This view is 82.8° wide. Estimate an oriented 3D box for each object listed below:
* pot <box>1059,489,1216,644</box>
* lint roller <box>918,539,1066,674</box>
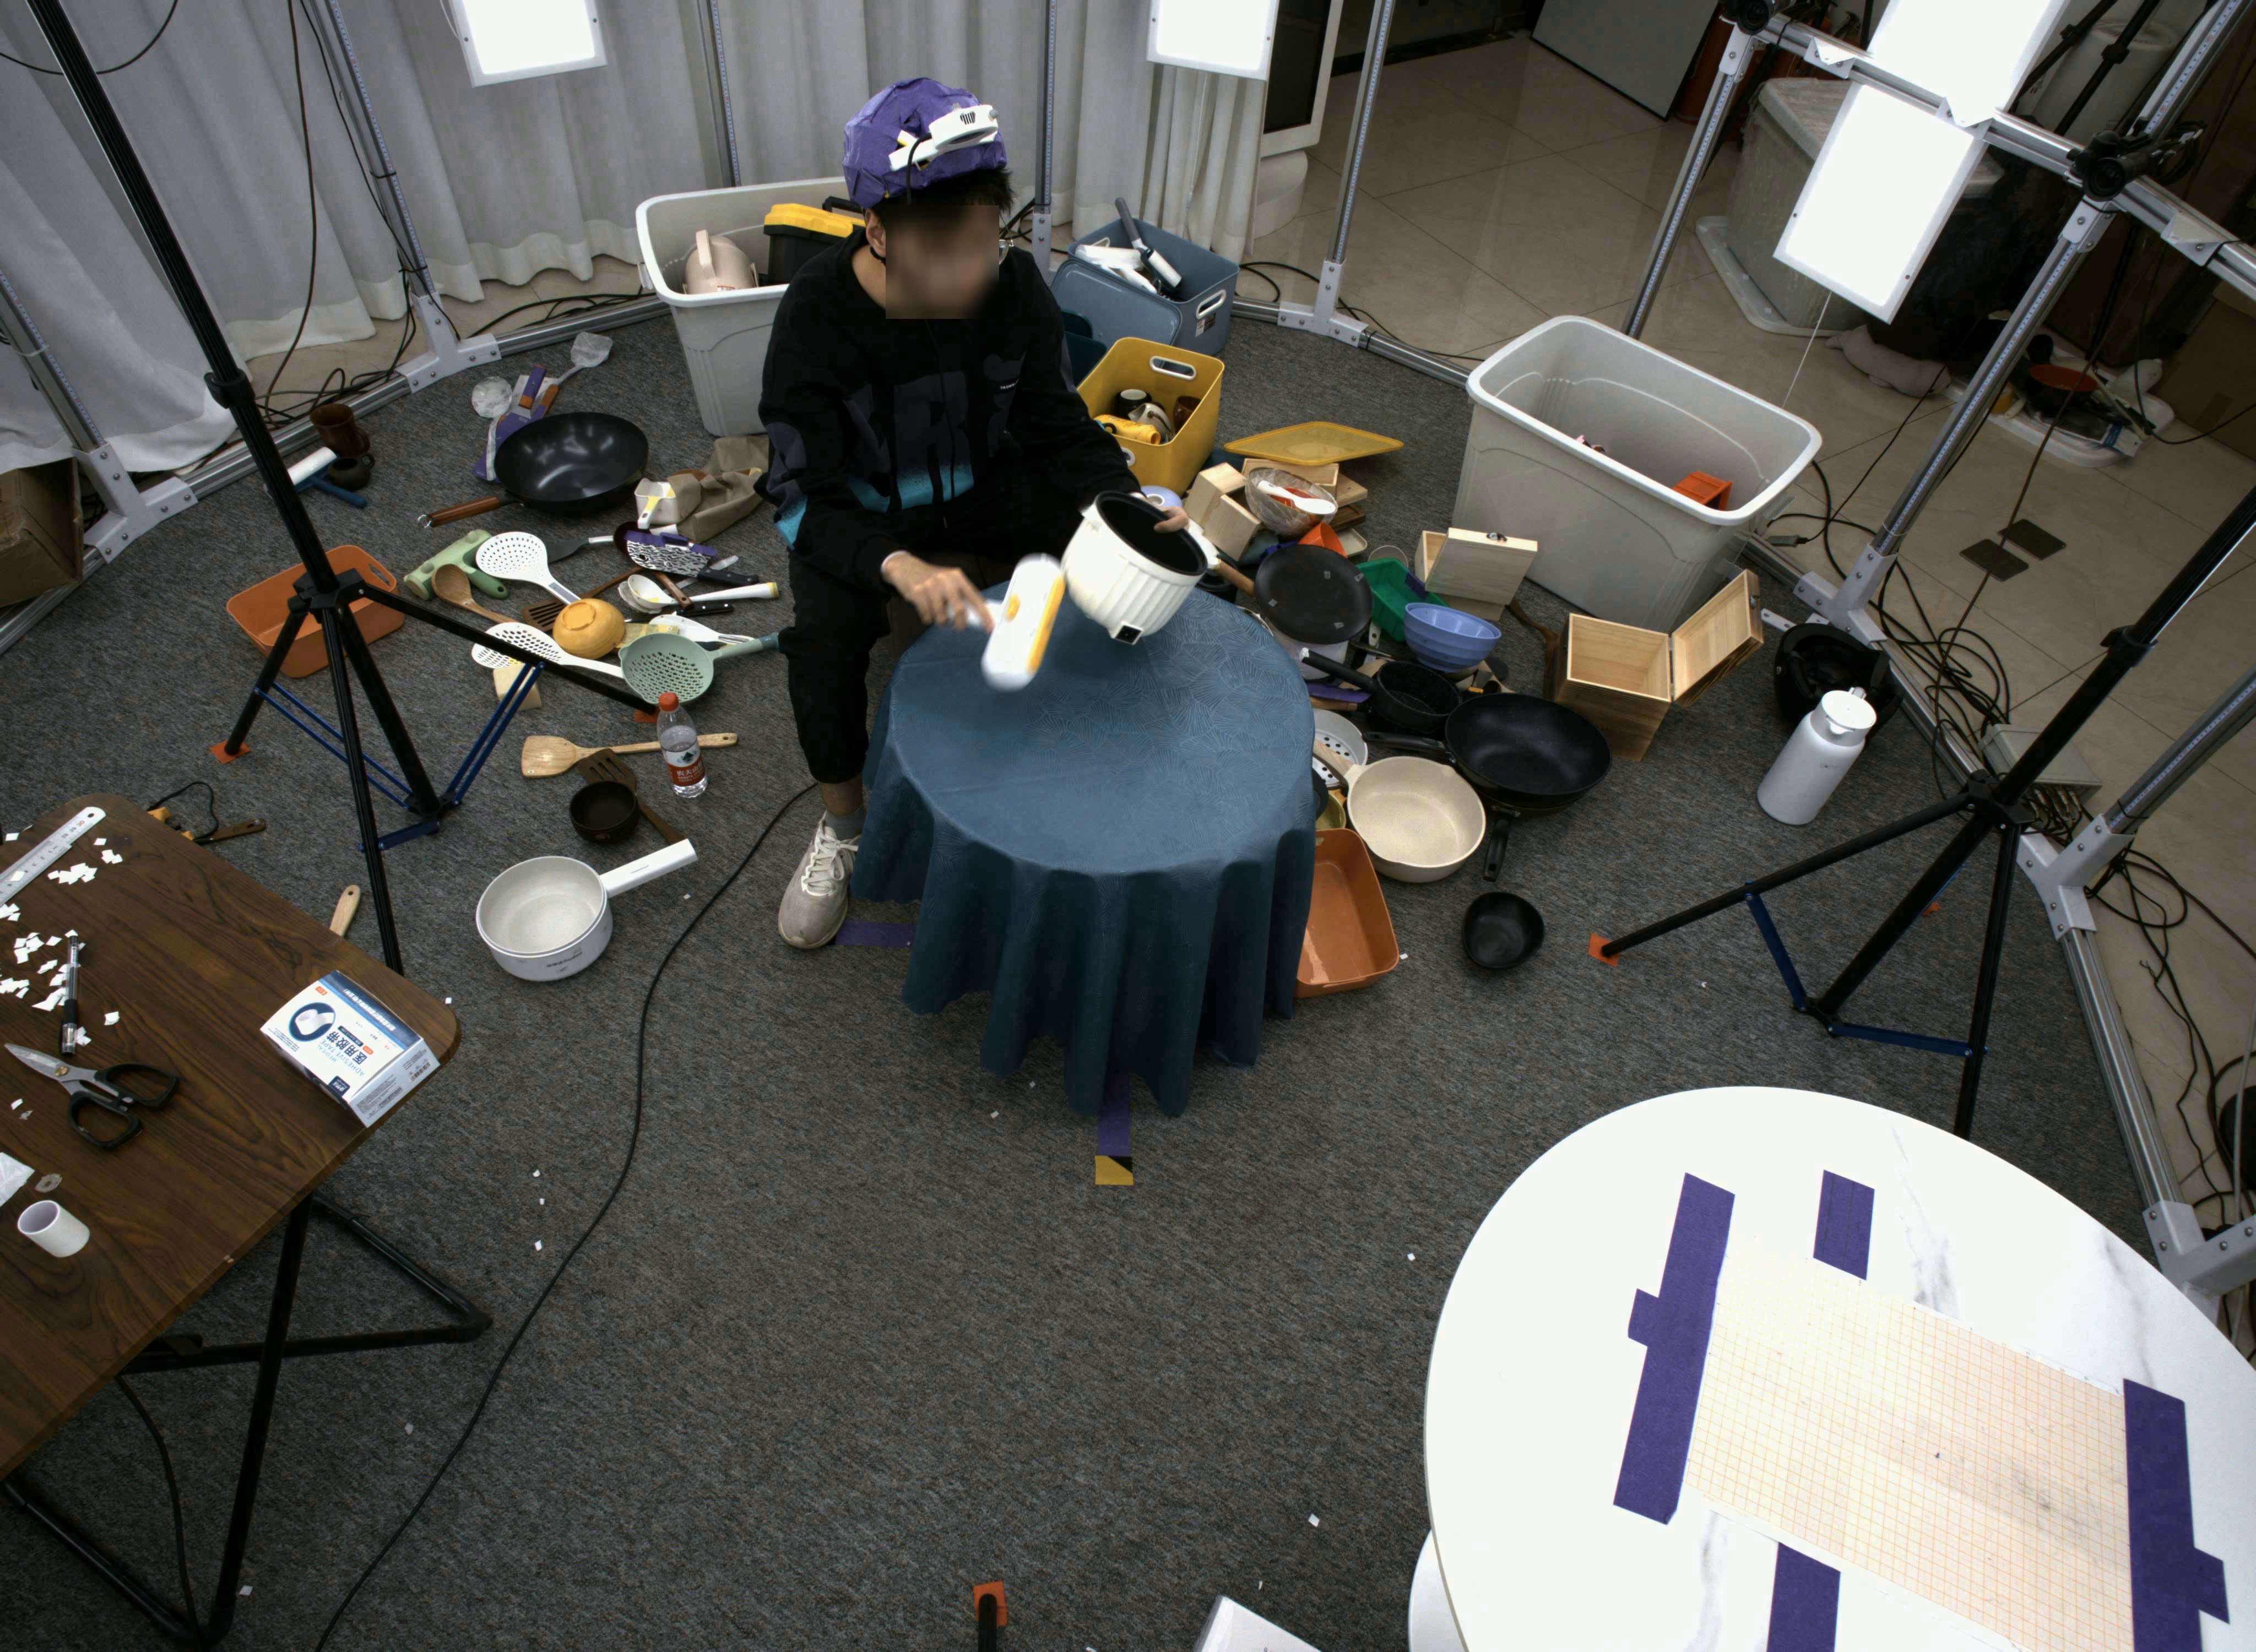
[{"bbox_3d":[-0.006,-0.366,1.810,0.238,0.140,0.195,14,40,-35],"label":"pot"},{"bbox_3d":[-0.188,-0.302,1.753,0.193,0.073,0.195,2,72,20],"label":"lint roller"}]
